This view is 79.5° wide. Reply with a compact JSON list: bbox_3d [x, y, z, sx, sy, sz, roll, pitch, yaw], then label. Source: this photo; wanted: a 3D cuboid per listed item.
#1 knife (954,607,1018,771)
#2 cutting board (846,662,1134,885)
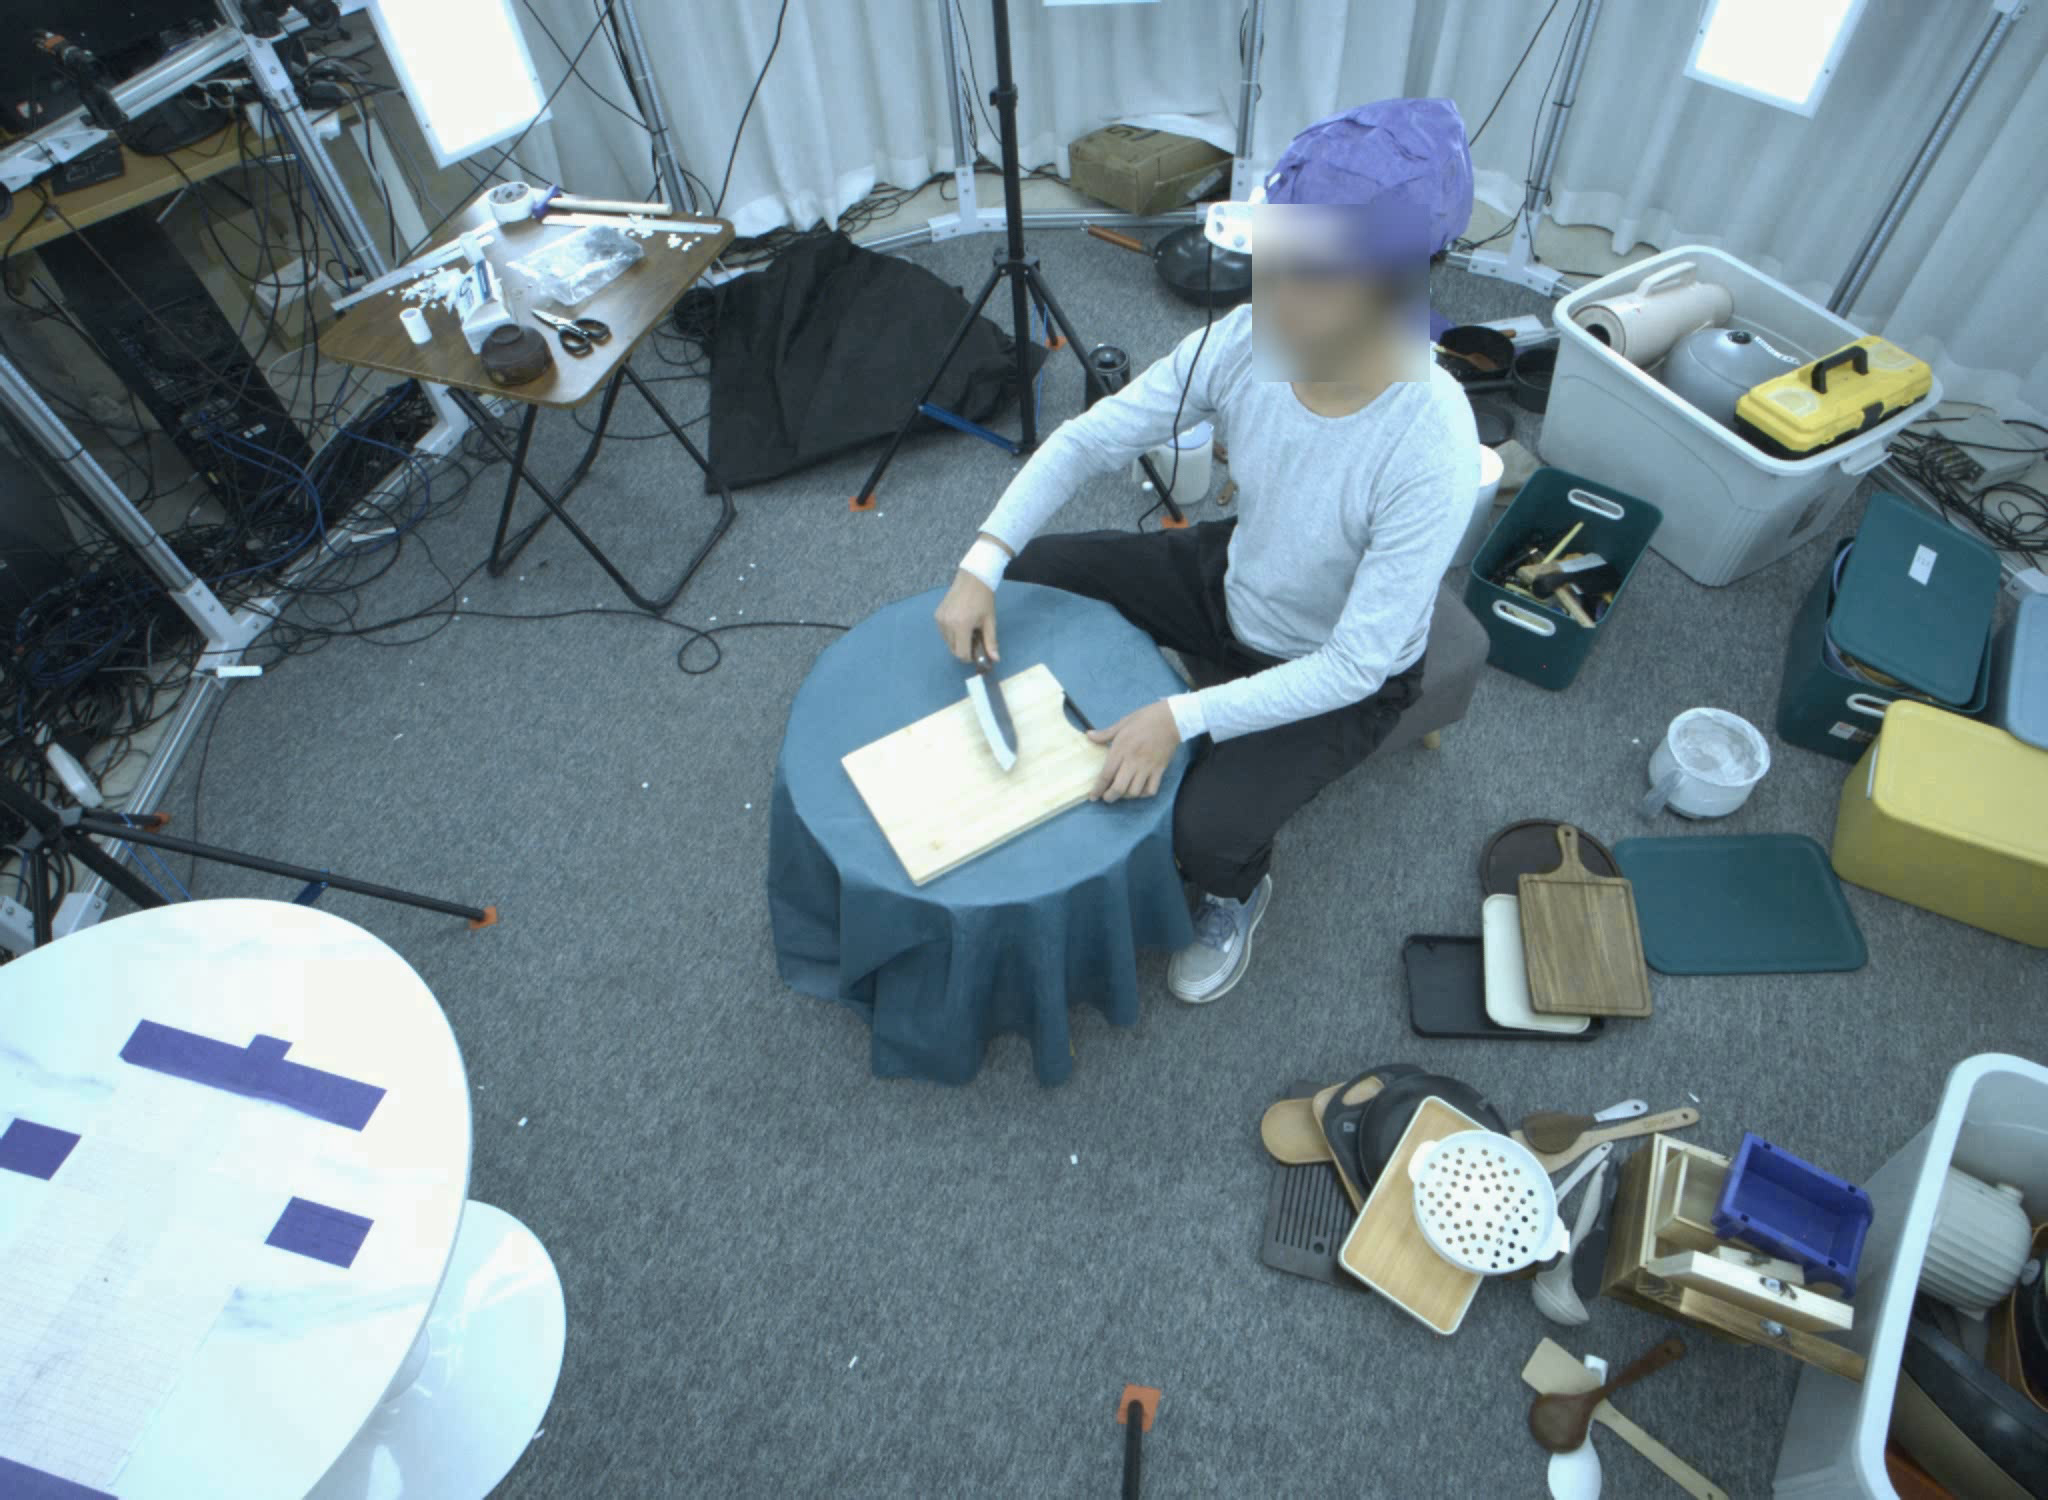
[{"bbox_3d":[-0.059,-0.092,1.783,0.050,0.020,0.285,-20,61,6],"label":"knife"},{"bbox_3d":[-0.054,0.024,1.769,0.351,0.024,0.246,-27,59,-17],"label":"cutting board"}]
